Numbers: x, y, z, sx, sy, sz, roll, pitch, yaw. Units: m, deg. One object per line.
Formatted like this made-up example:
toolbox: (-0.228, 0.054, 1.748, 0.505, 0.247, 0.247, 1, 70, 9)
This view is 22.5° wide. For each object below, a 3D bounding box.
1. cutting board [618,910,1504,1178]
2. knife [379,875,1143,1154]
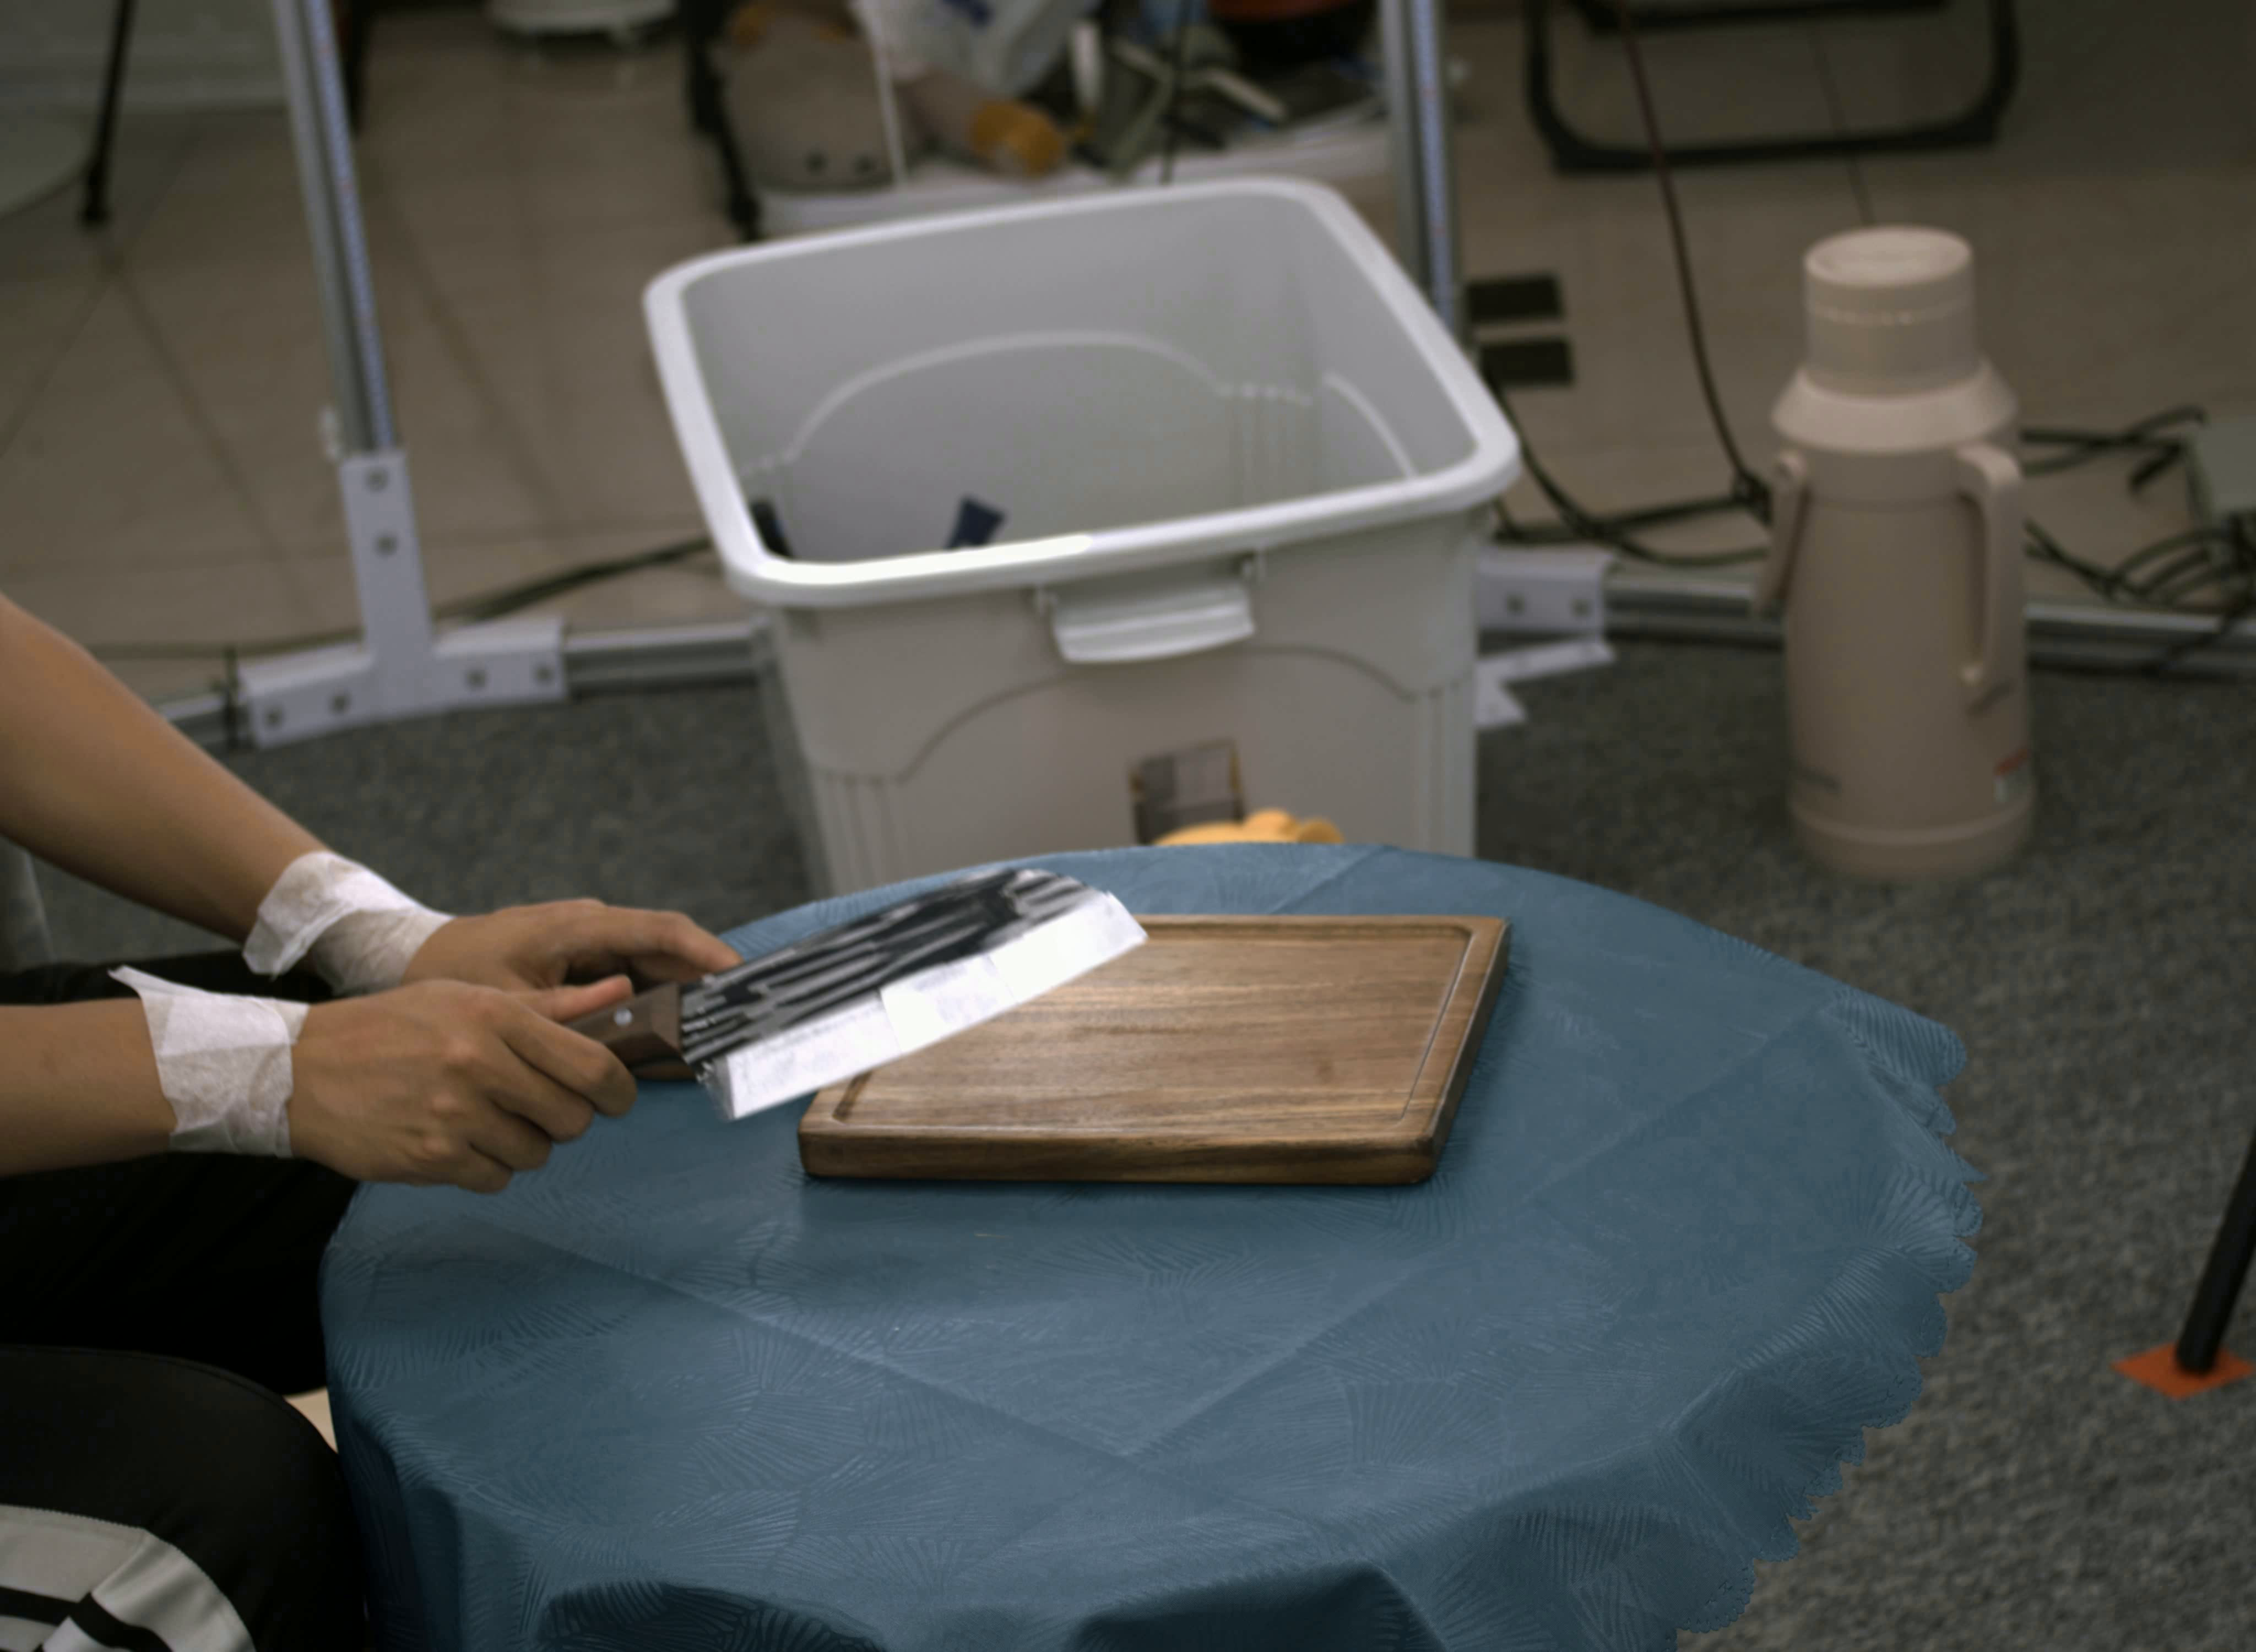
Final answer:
cutting board: (-0.036, 0.085, 2.251, 0.351, 0.023, 0.198, -1, 25, 14)
knife: (-0.138, 0.077, 2.116, 0.299, 0.024, 0.067, -20, 53, 7)
